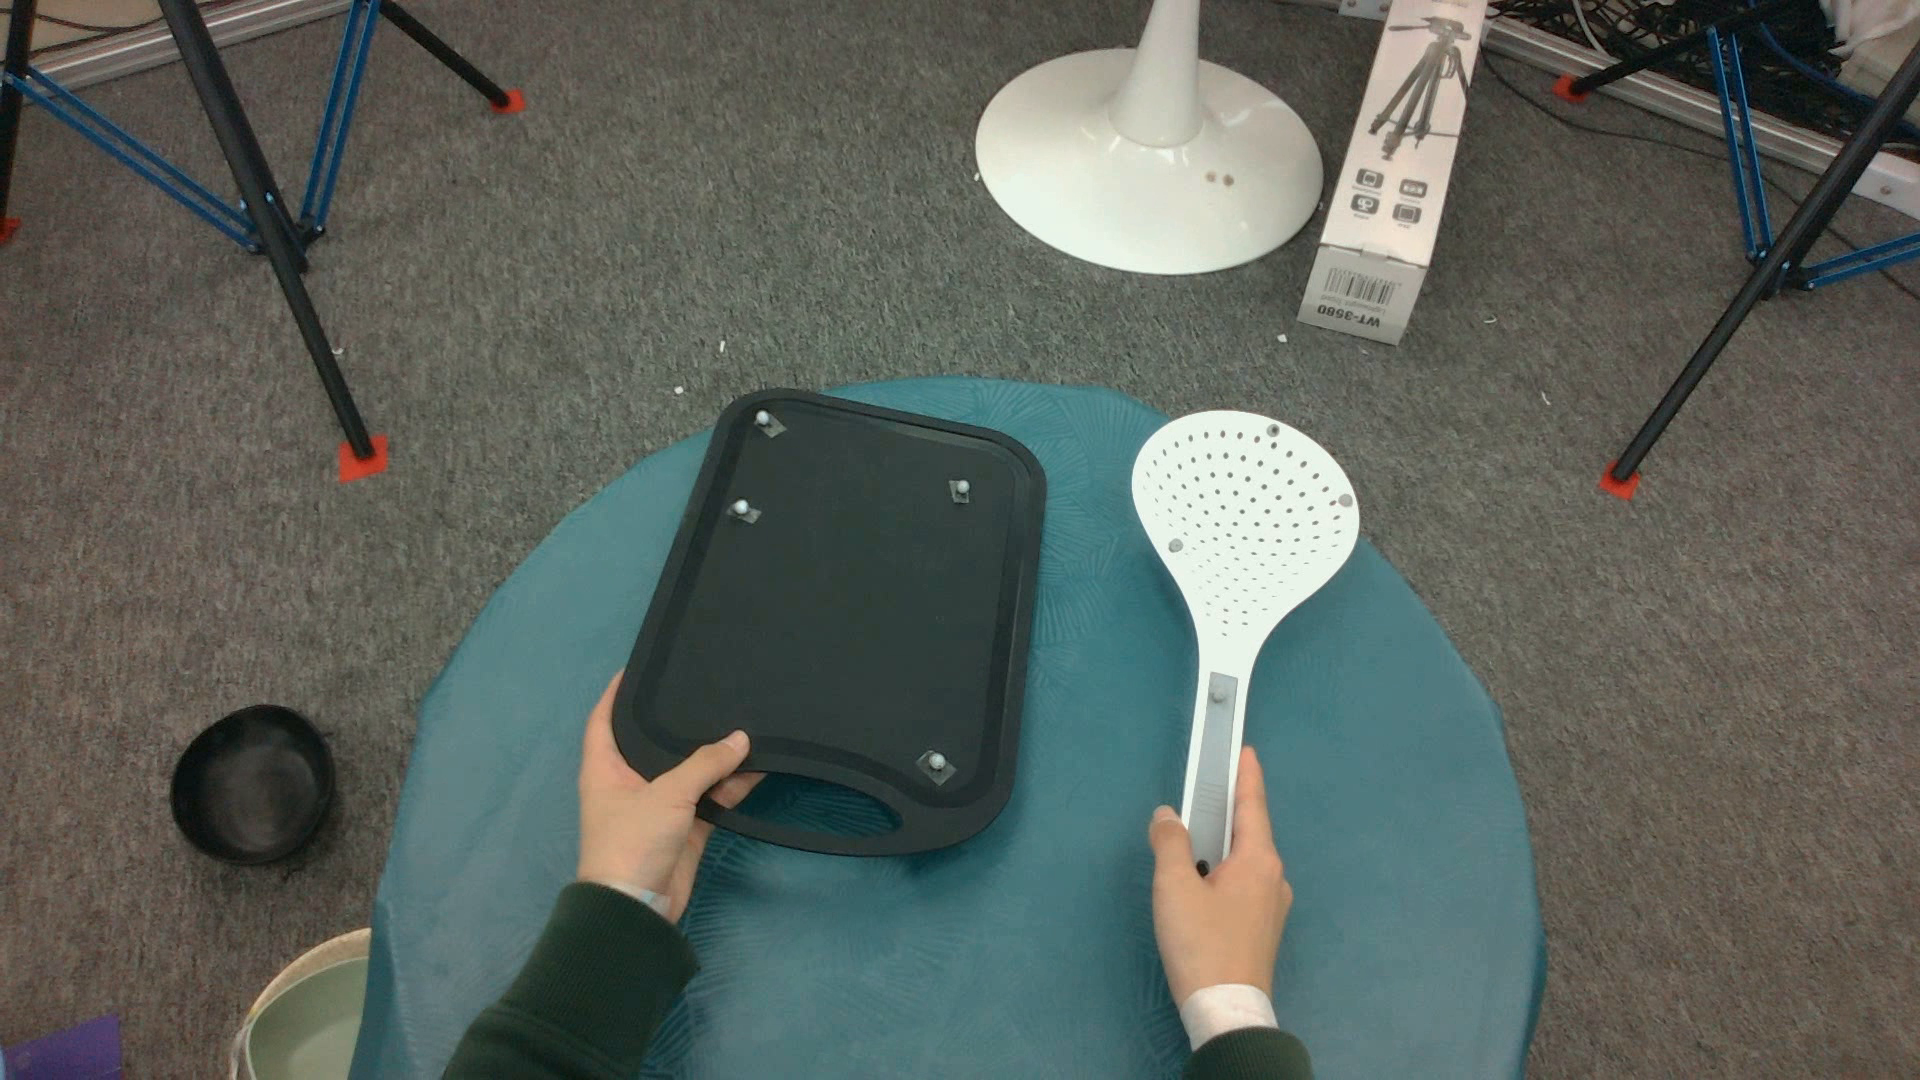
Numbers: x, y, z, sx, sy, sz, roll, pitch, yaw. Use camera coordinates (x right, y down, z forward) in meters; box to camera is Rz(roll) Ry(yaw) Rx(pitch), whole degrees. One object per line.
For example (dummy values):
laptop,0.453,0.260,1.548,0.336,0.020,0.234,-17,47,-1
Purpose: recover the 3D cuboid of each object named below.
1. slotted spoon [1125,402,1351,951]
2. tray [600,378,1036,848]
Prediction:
slotted spoon,0.141,0.058,0.760,0.136,0.045,0.351,13,49,4
tray,-0.068,0.026,0.773,0.211,0.010,0.327,11,47,-2
